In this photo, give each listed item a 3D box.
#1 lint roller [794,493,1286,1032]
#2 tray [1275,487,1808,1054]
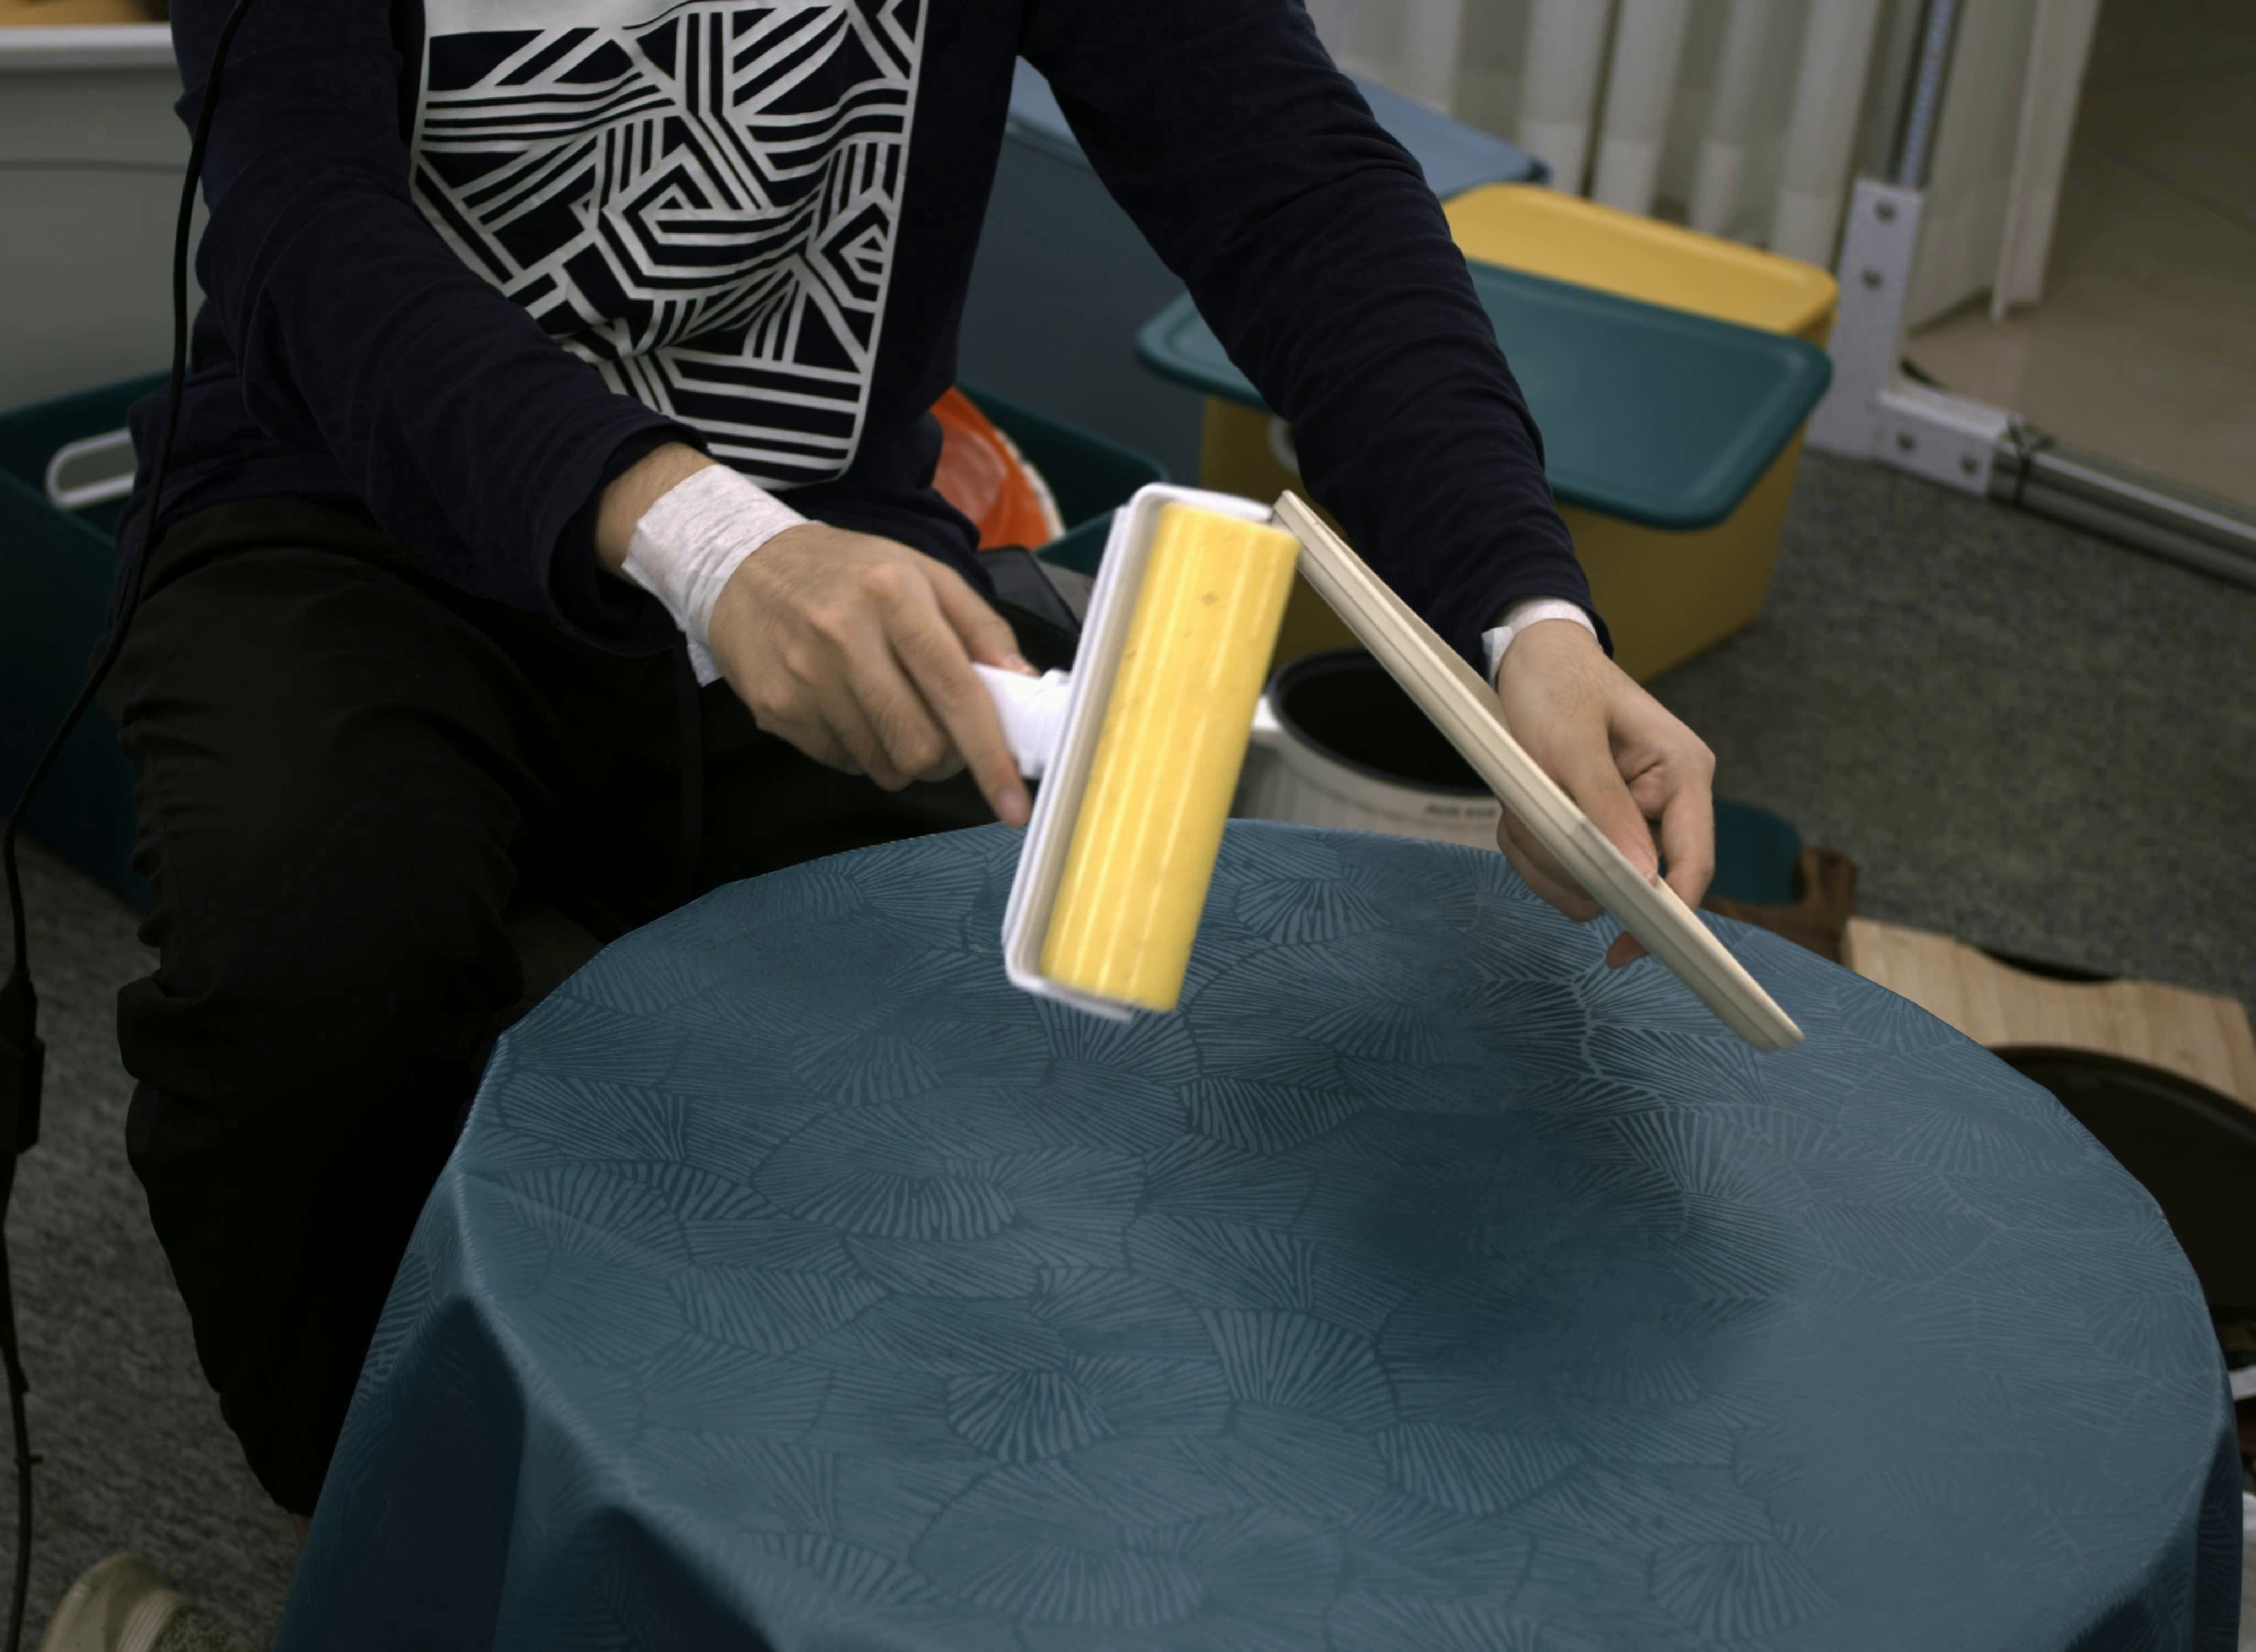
[{"bbox_3d":[-0.046,-0.033,1.771,0.193,0.174,0.051,13,-1,34],"label":"lint roller"},{"bbox_3d":[0.139,-0.018,1.841,0.169,0.017,0.242,43,6,-42],"label":"tray"}]
